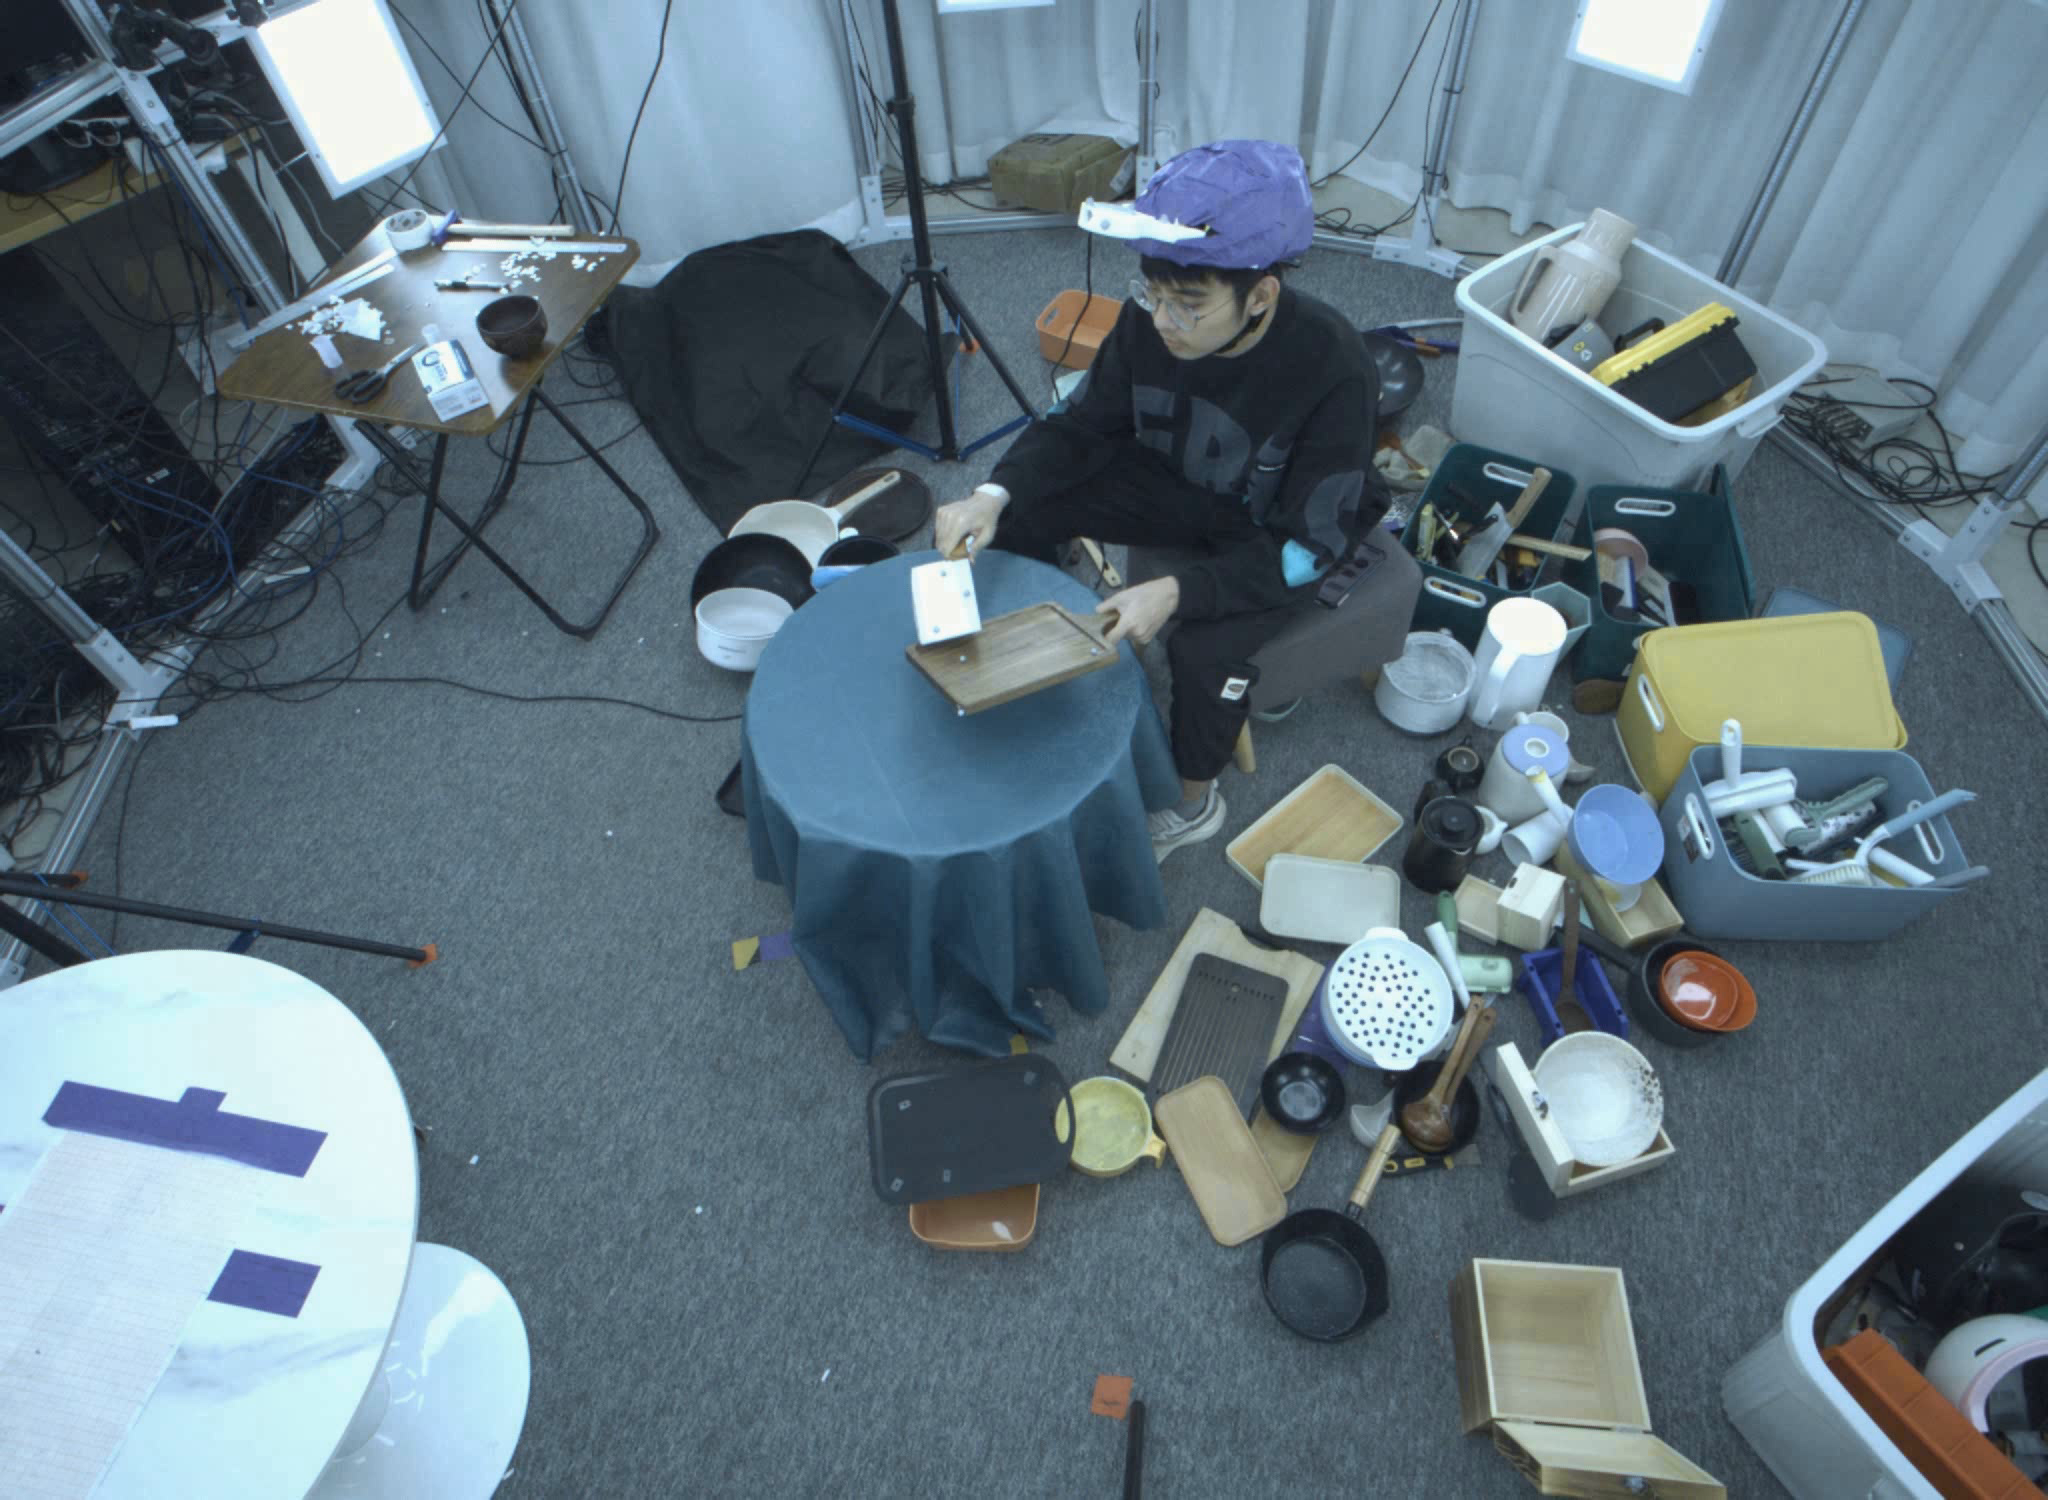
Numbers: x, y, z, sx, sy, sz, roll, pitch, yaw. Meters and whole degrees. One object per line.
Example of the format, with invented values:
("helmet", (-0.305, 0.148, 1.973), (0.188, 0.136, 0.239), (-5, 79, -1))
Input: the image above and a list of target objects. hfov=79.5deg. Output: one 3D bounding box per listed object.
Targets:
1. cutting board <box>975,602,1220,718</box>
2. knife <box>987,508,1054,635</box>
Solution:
("cutting board", (0.127, -0.146, 1.752), (0.356, 0.023, 0.196), (-17, 38, -20))
("knife", (-0.010, -0.270, 1.835), (0.093, 0.021, 0.302), (-9, 44, 4))
